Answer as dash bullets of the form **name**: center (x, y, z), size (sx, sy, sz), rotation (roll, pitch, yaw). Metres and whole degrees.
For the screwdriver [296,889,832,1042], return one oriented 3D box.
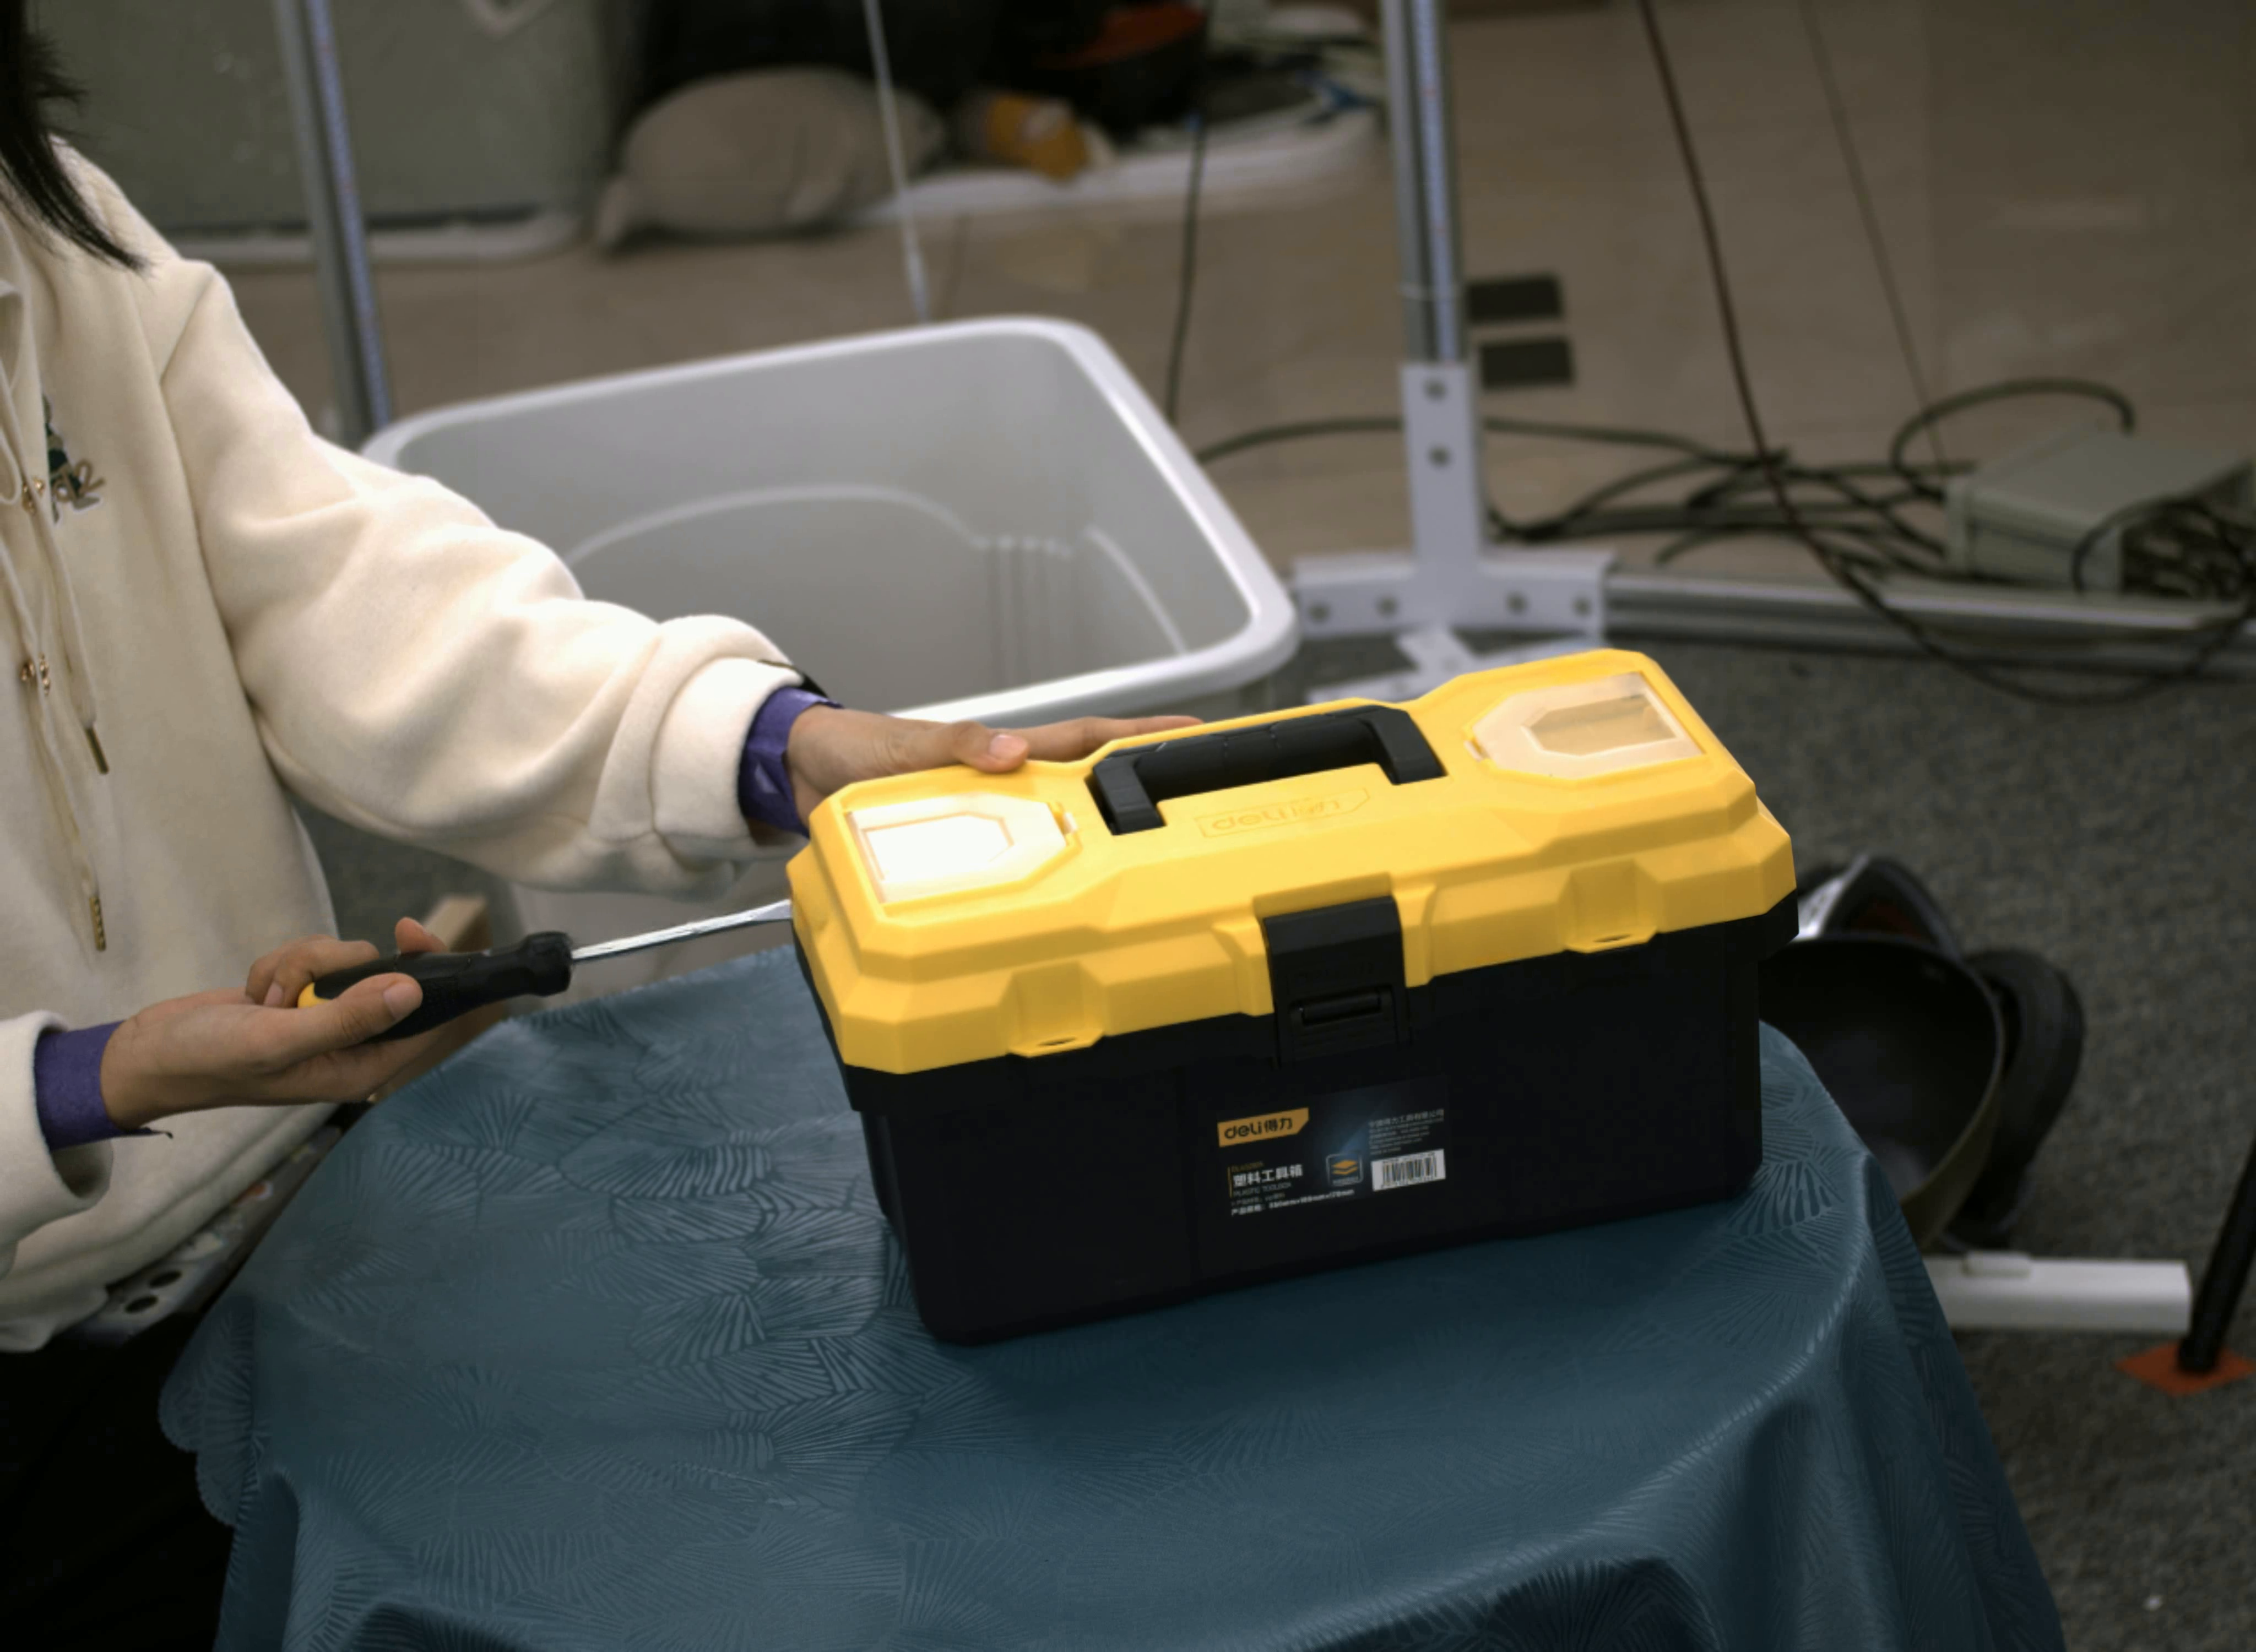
- **screwdriver**: center (-0.204, 0.044, 2.041), size (0.197, 0.032, 0.031), rotation (-15, 25, 3)

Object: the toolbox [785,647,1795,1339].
- **toolbox**: center (0.061, 0.062, 2.091), size (0.351, 0.175, 0.179), rotation (-10, 25, -8)
